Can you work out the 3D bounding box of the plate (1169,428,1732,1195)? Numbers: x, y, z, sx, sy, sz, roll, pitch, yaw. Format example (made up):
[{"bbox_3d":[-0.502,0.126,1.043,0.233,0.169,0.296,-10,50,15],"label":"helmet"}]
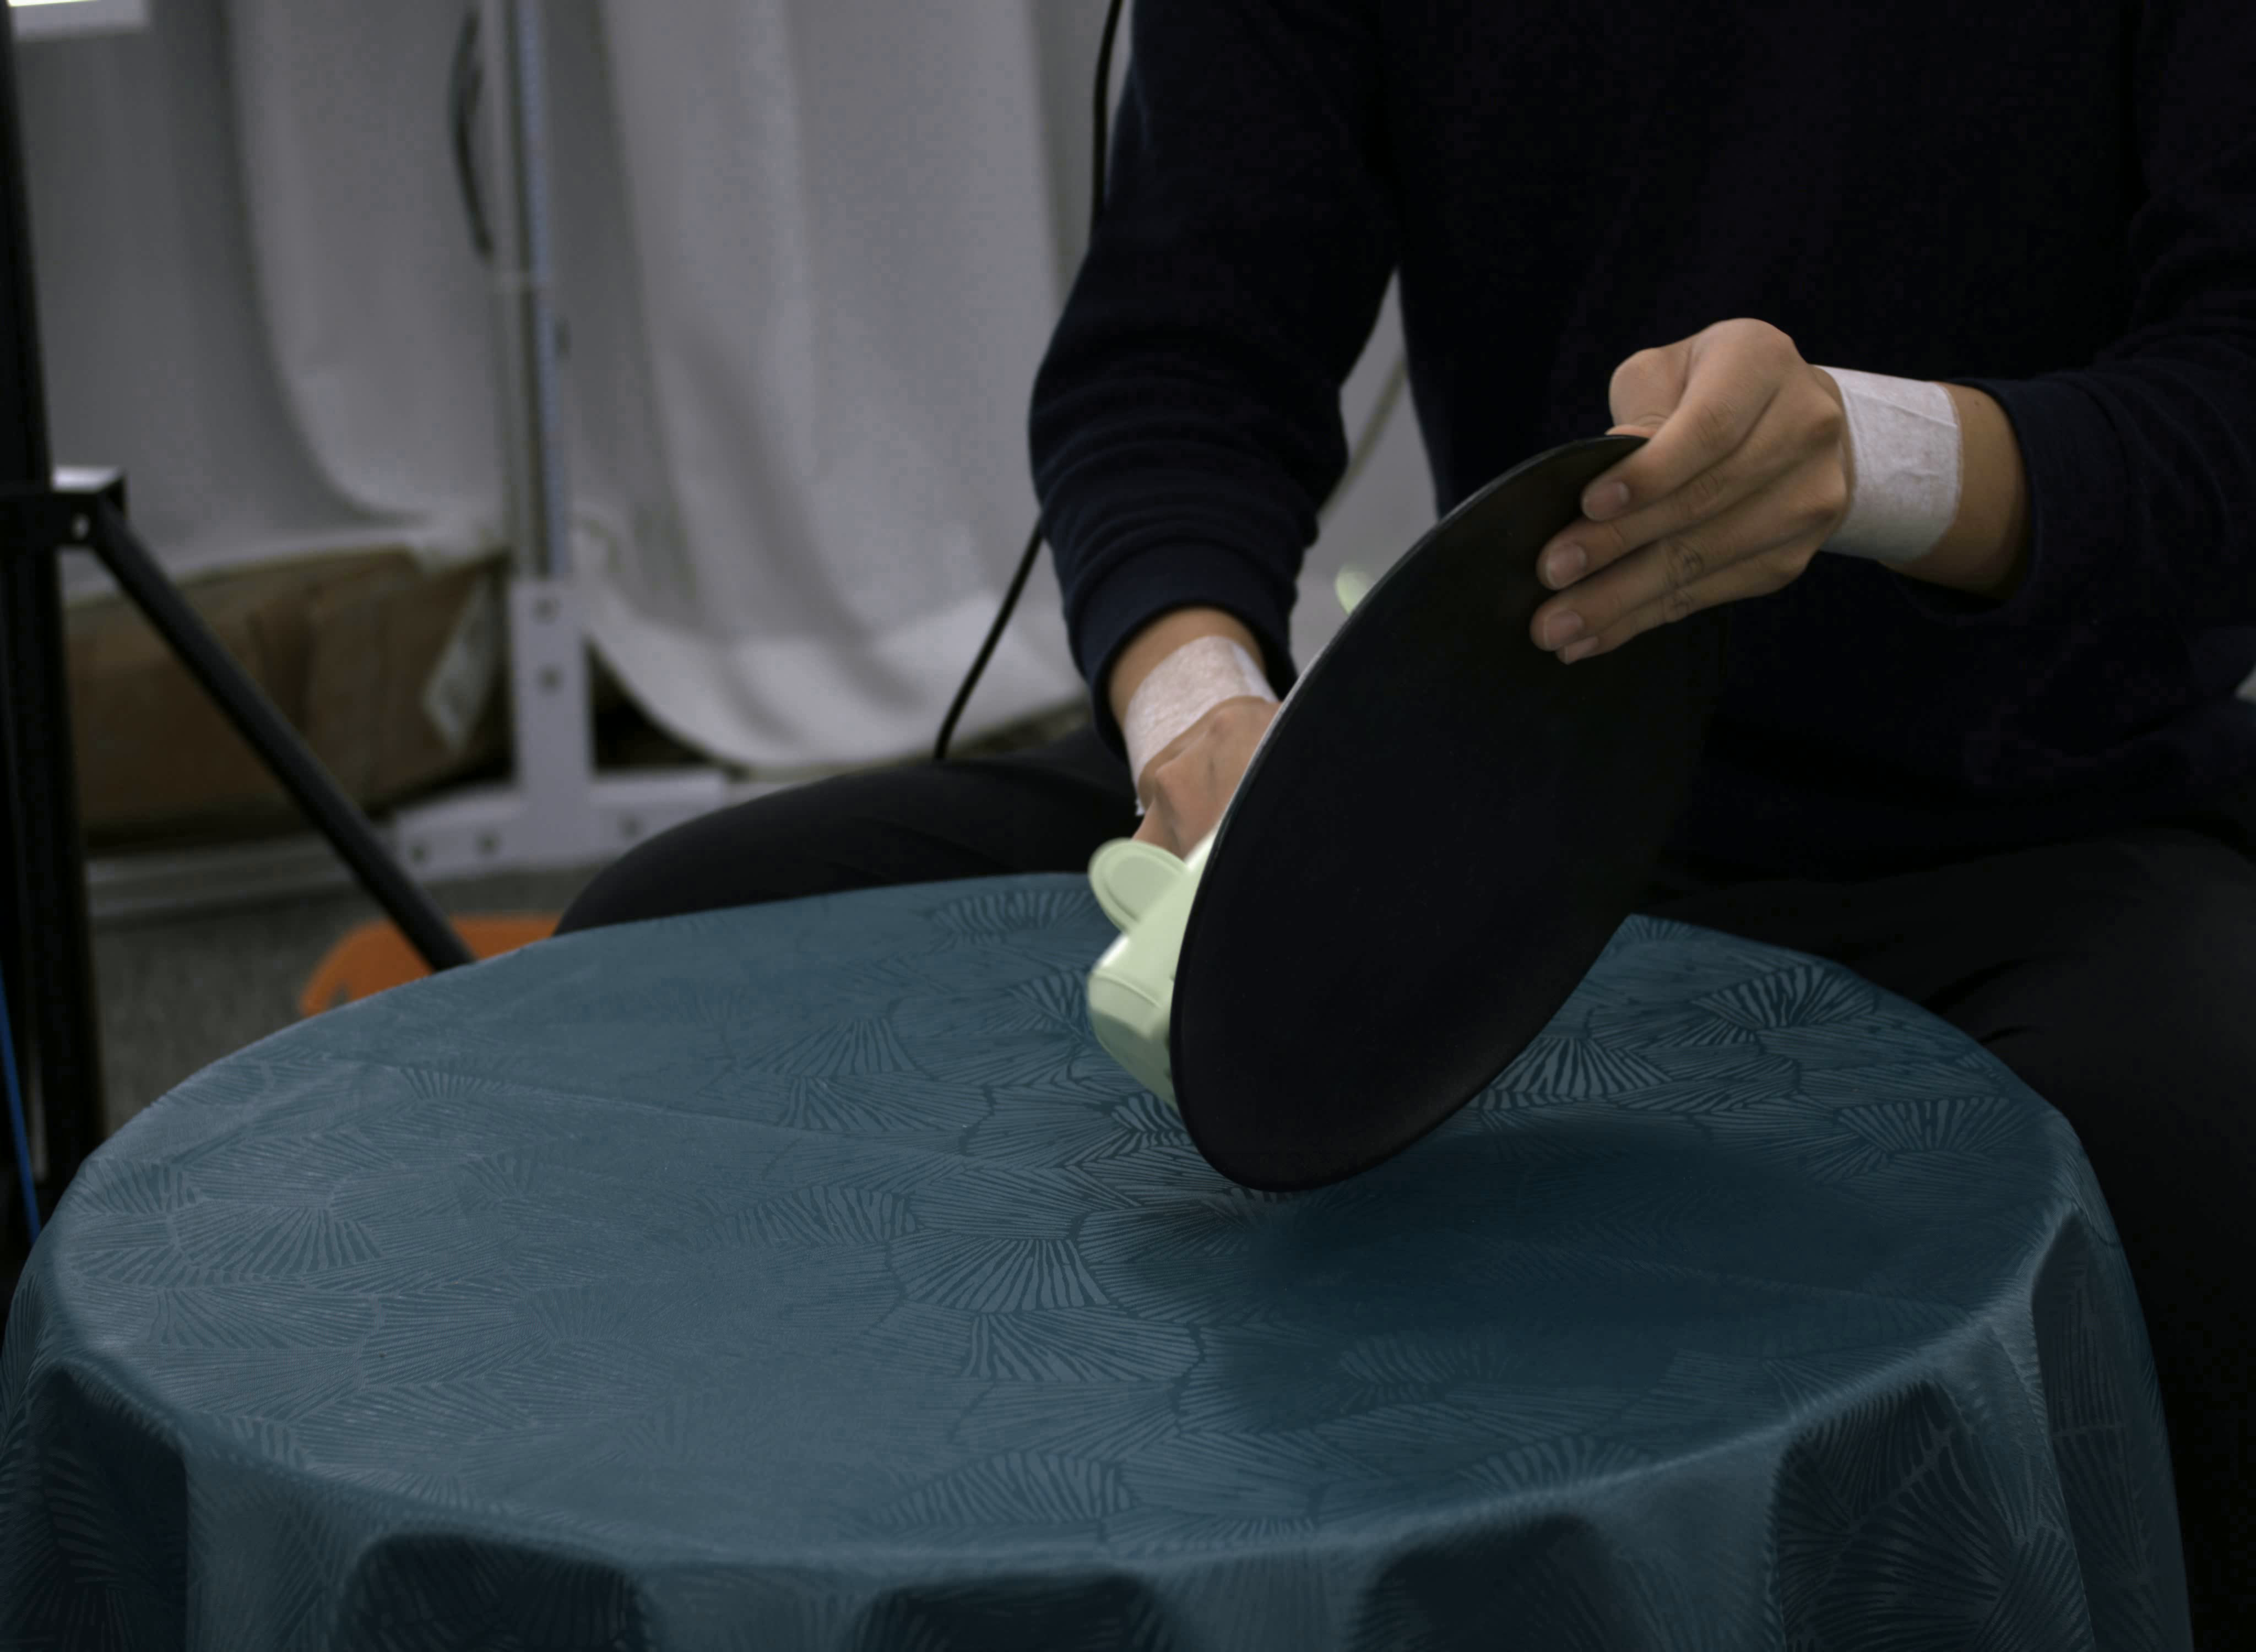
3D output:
[{"bbox_3d":[0.087,-0.005,1.511,0.024,0.245,0.239,33,33,30],"label":"plate"}]

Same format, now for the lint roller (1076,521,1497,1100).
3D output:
[{"bbox_3d":[0.039,-0.008,1.600,0.198,0.081,0.185,-49,12,-16],"label":"lint roller"}]
